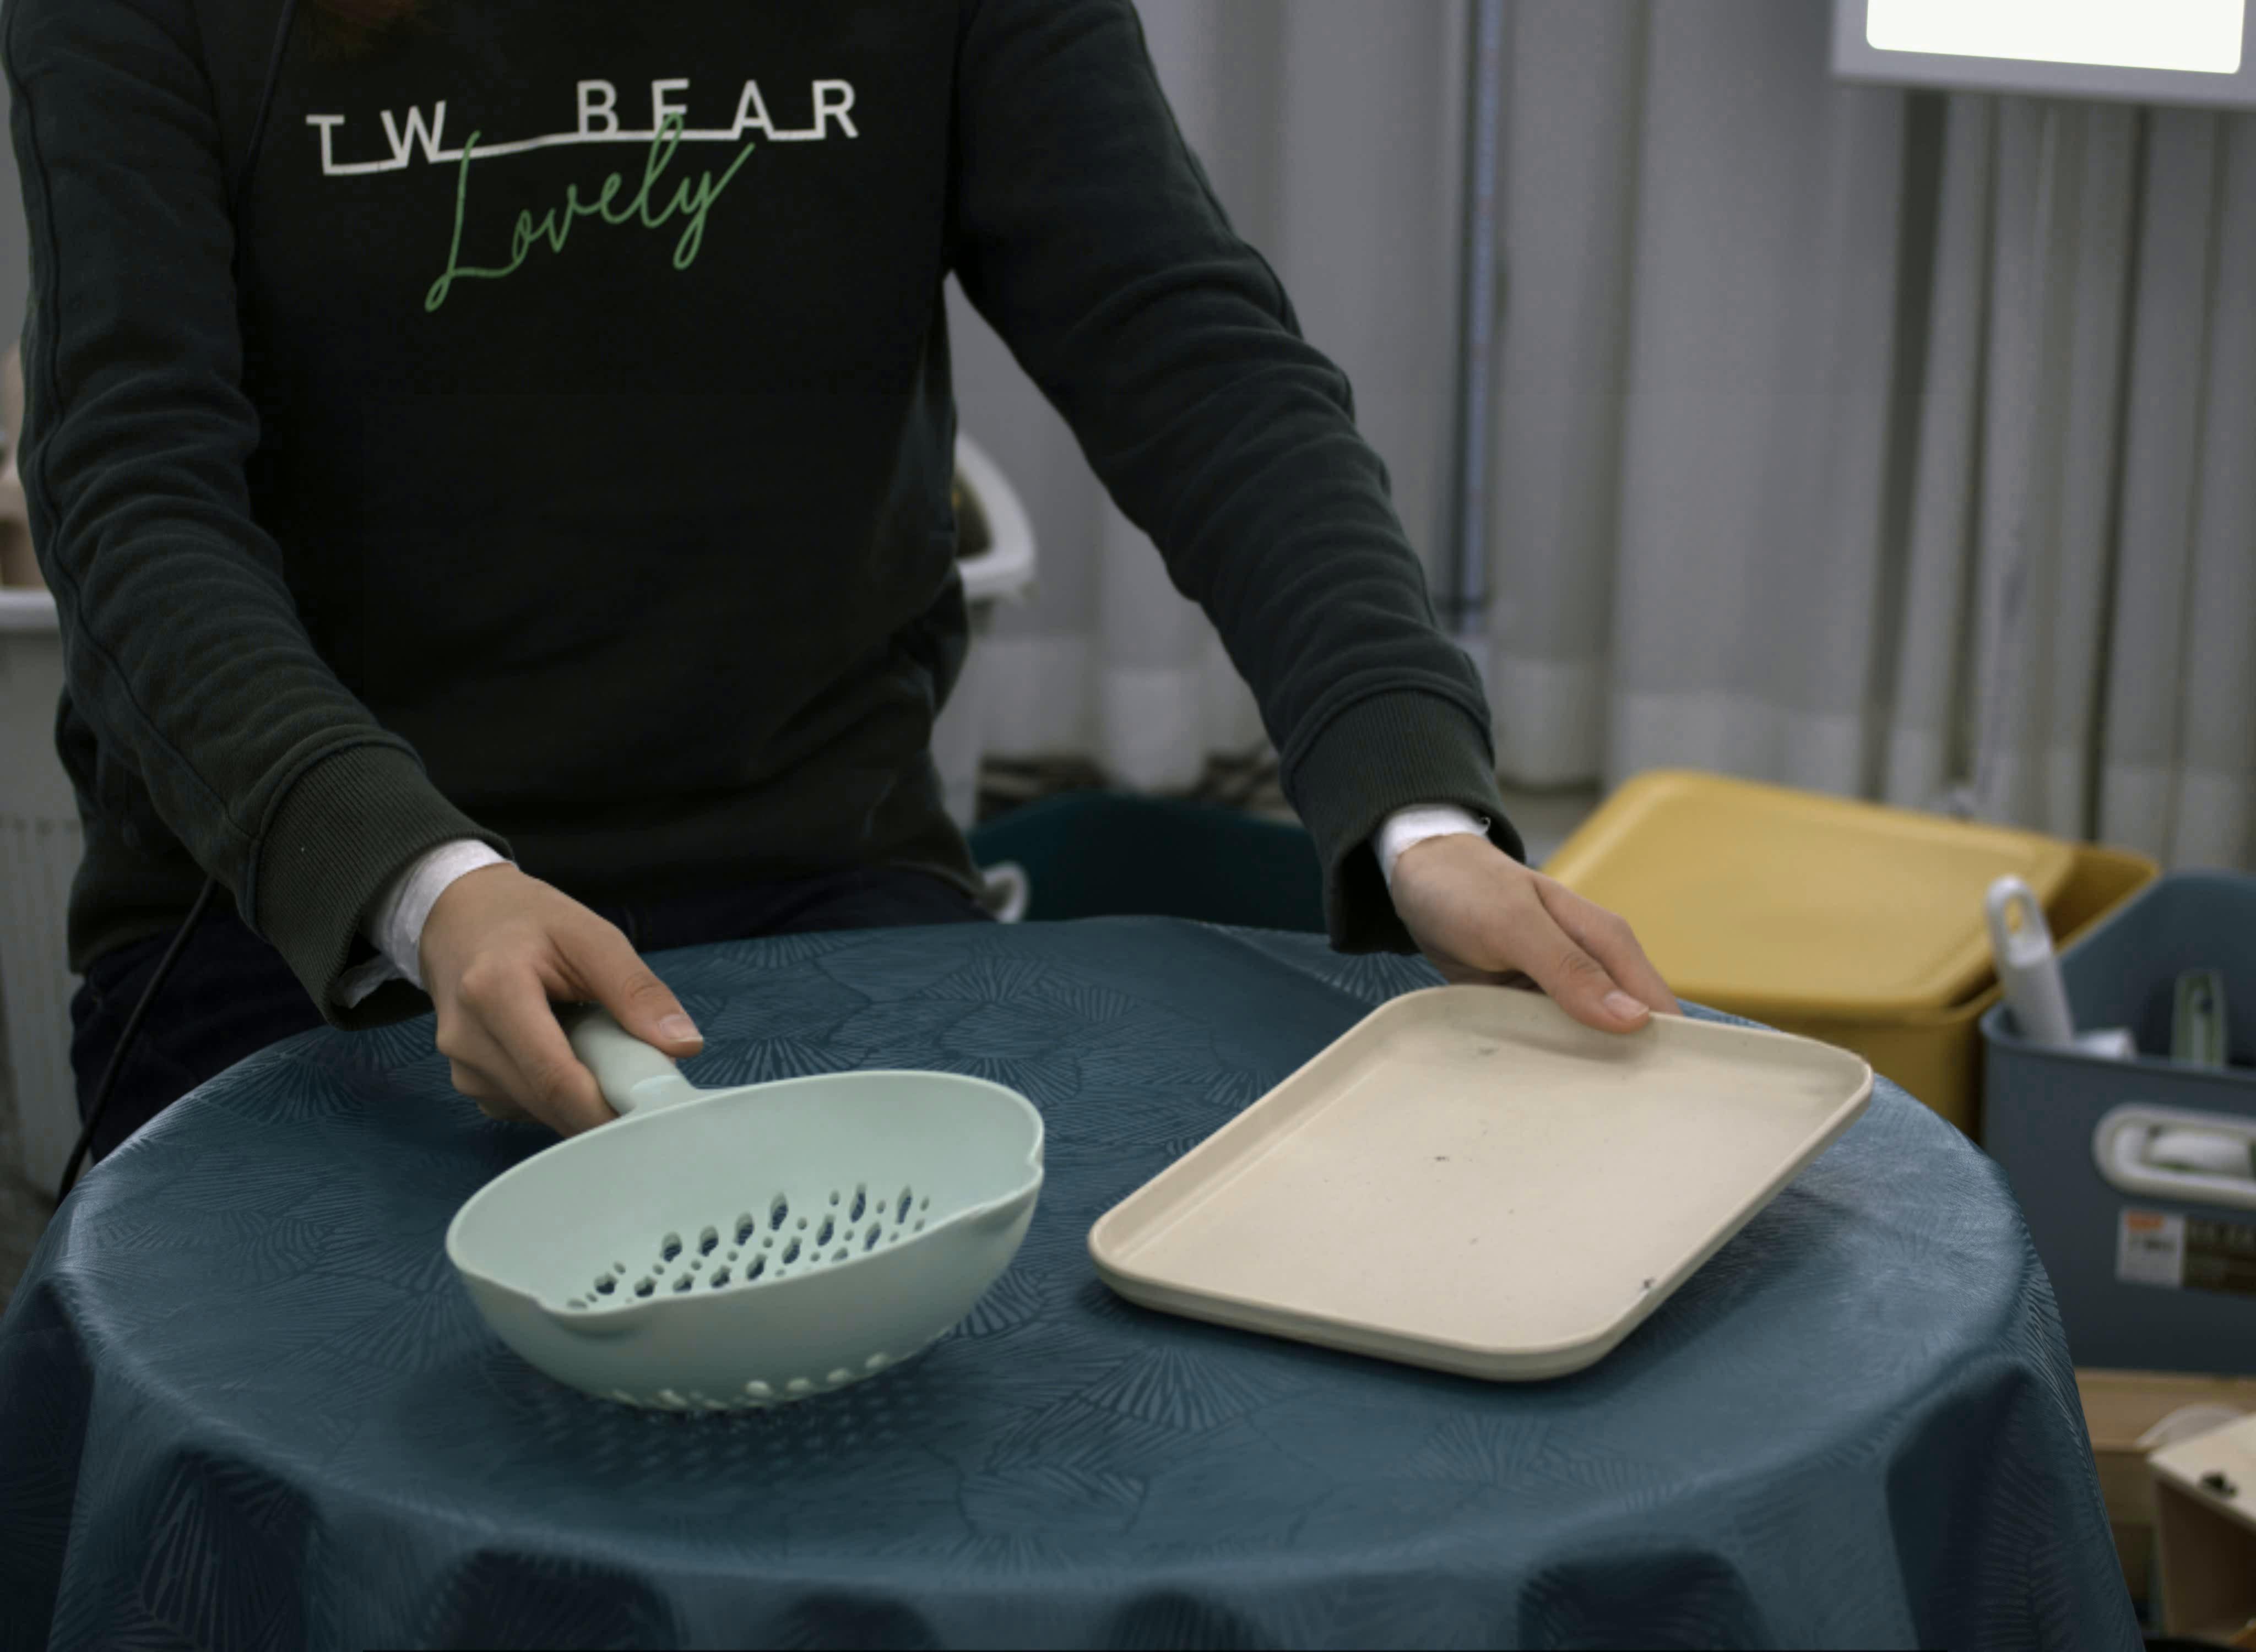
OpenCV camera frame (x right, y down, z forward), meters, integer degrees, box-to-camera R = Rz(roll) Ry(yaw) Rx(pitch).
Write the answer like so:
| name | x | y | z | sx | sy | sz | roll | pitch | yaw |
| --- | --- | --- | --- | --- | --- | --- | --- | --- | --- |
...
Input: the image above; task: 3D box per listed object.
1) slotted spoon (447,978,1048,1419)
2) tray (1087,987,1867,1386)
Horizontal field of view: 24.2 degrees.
| name | x | y | z | sx | sy | sz | roll | pitch | yaw |
| --- | --- | --- | --- | --- | --- | --- | --- | --- | --- |
| slotted spoon | -0.133 | 0.091 | 1.547 | 0.169 | 0.076 | 0.354 | -14 | 24 | -15 |
| tray | 0.108 | 0.106 | 1.584 | 0.169 | 0.017 | 0.240 | 10 | 24 | 28 |
